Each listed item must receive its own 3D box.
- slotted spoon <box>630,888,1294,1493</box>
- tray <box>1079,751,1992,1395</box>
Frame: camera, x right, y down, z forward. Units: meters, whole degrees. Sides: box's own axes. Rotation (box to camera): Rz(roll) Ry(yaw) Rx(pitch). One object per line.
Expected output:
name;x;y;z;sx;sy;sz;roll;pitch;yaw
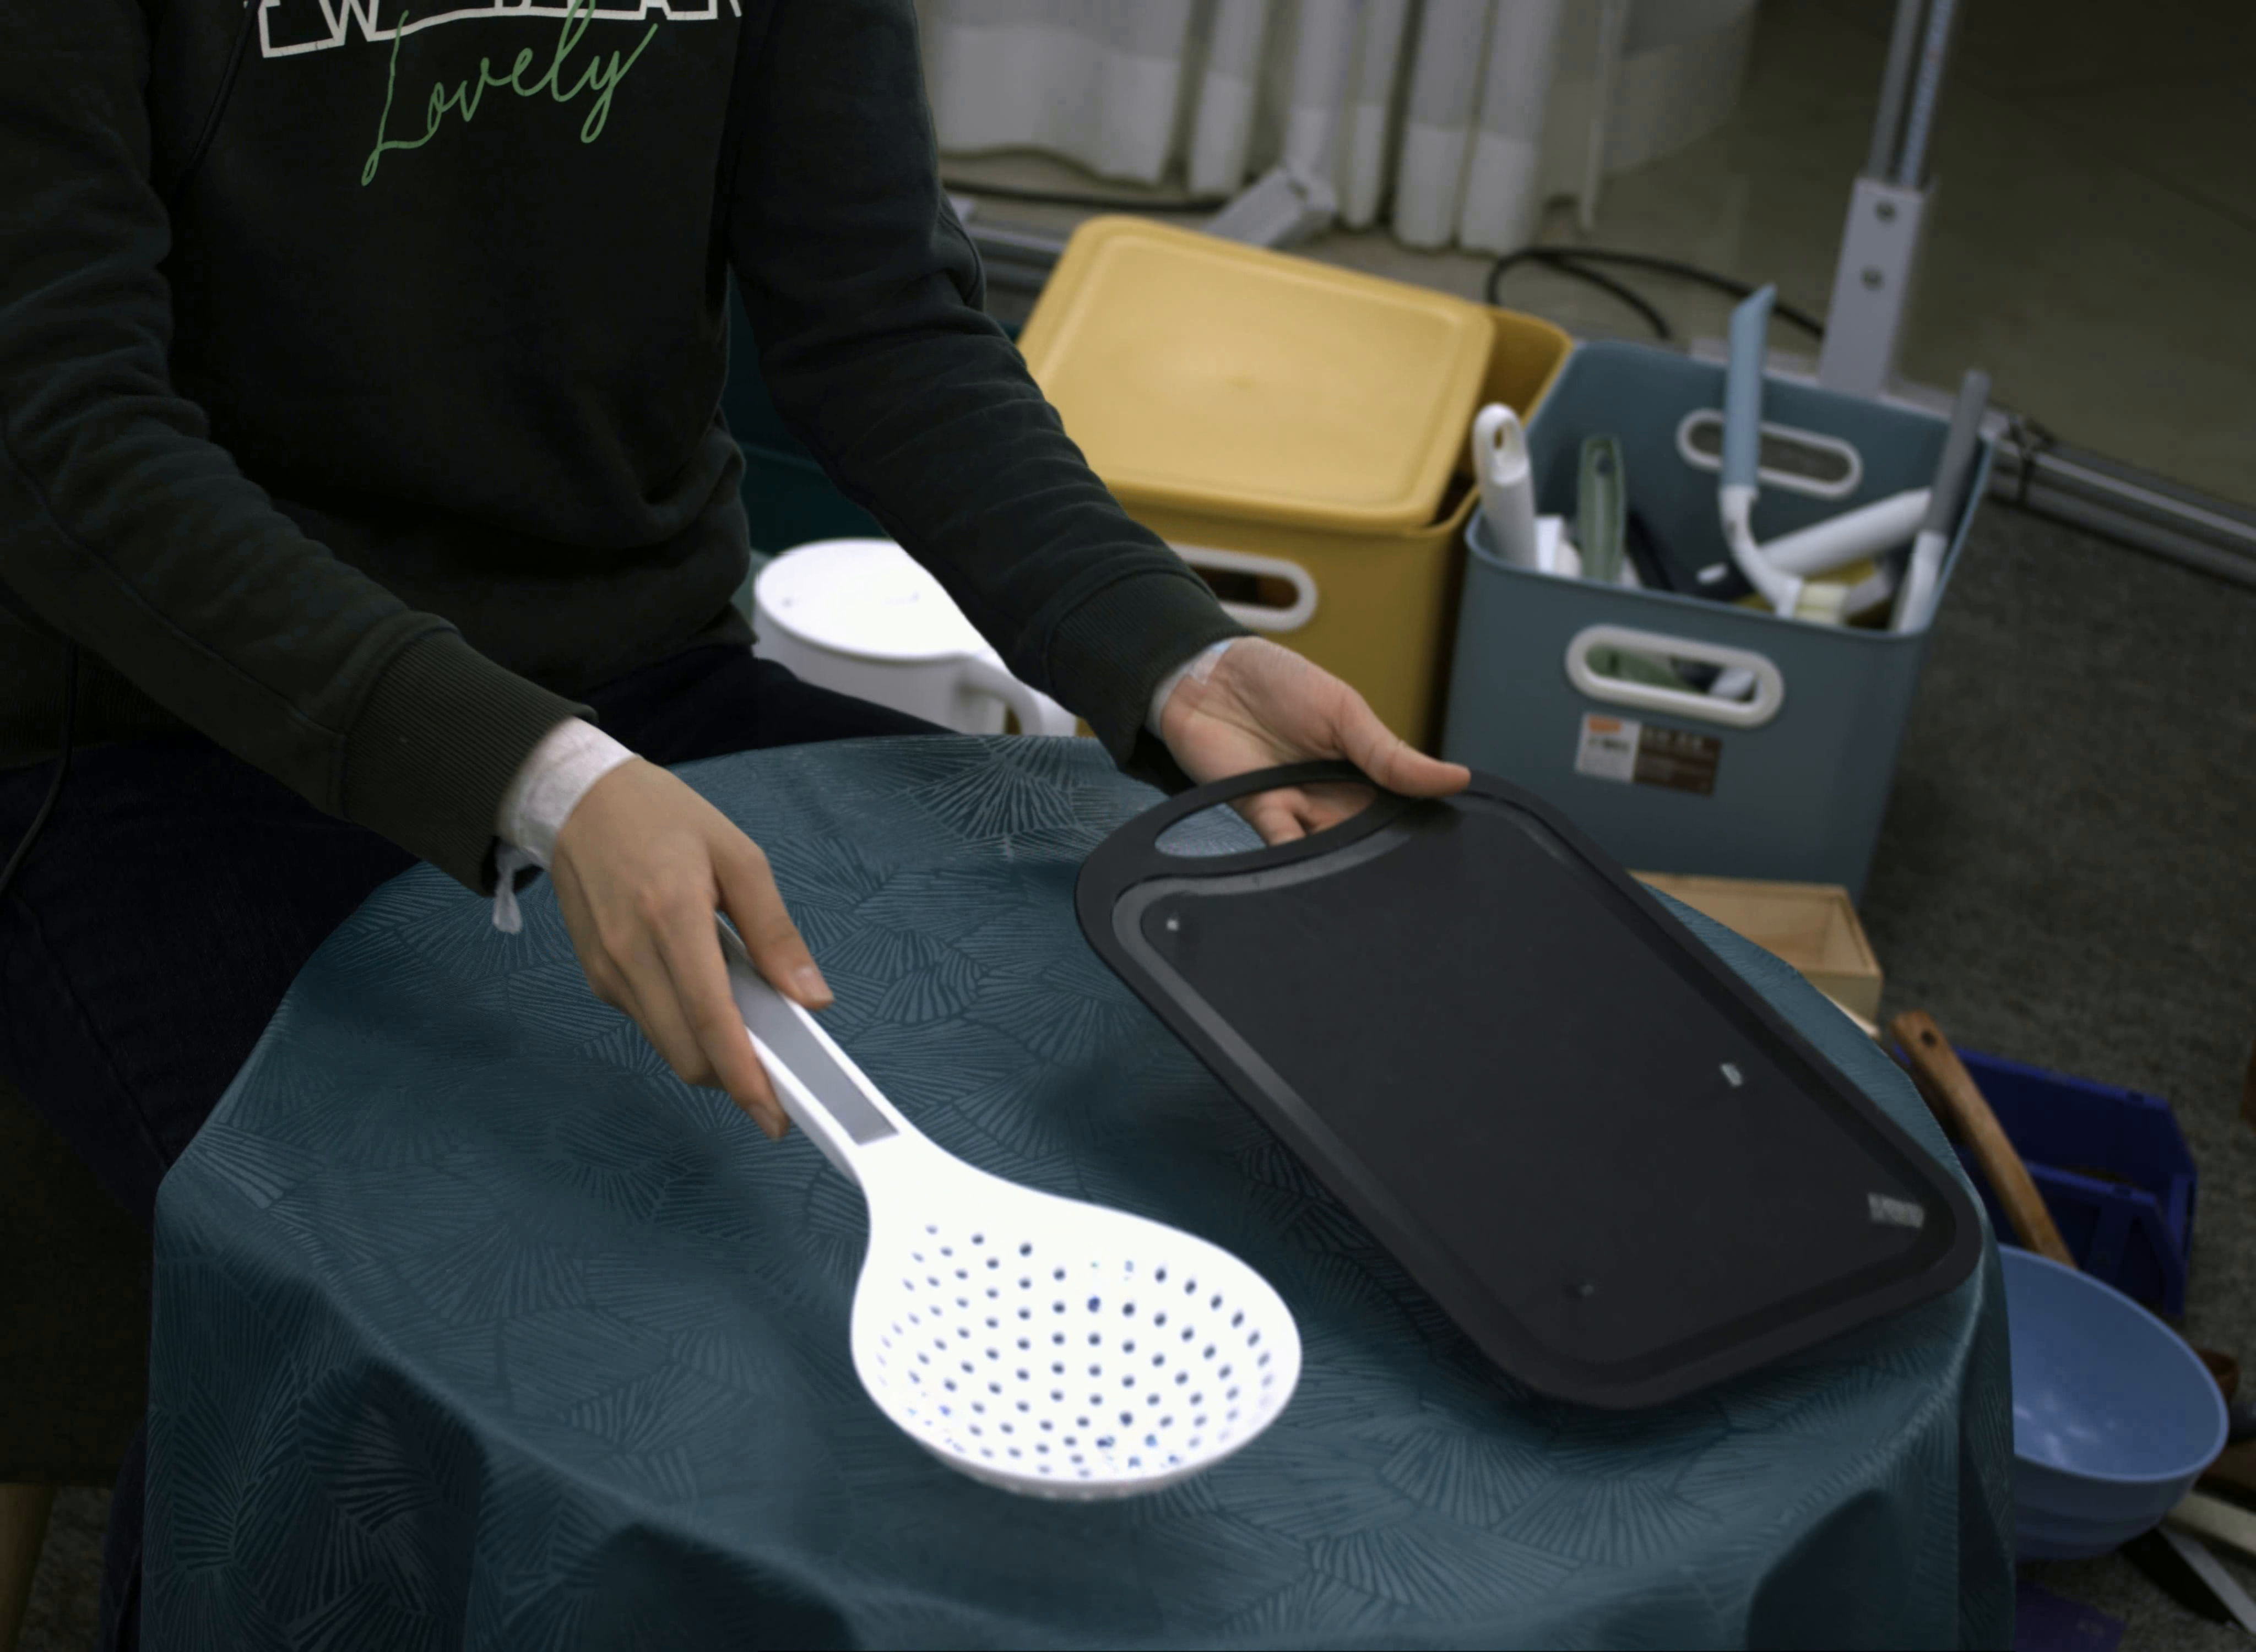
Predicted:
slotted spoon;-0.072;0.109;1.683;0.135;0.045;0.353;-14;39;-27
tray;0.130;0.072;1.814;0.210;0.010;0.328;-16;44;-33
